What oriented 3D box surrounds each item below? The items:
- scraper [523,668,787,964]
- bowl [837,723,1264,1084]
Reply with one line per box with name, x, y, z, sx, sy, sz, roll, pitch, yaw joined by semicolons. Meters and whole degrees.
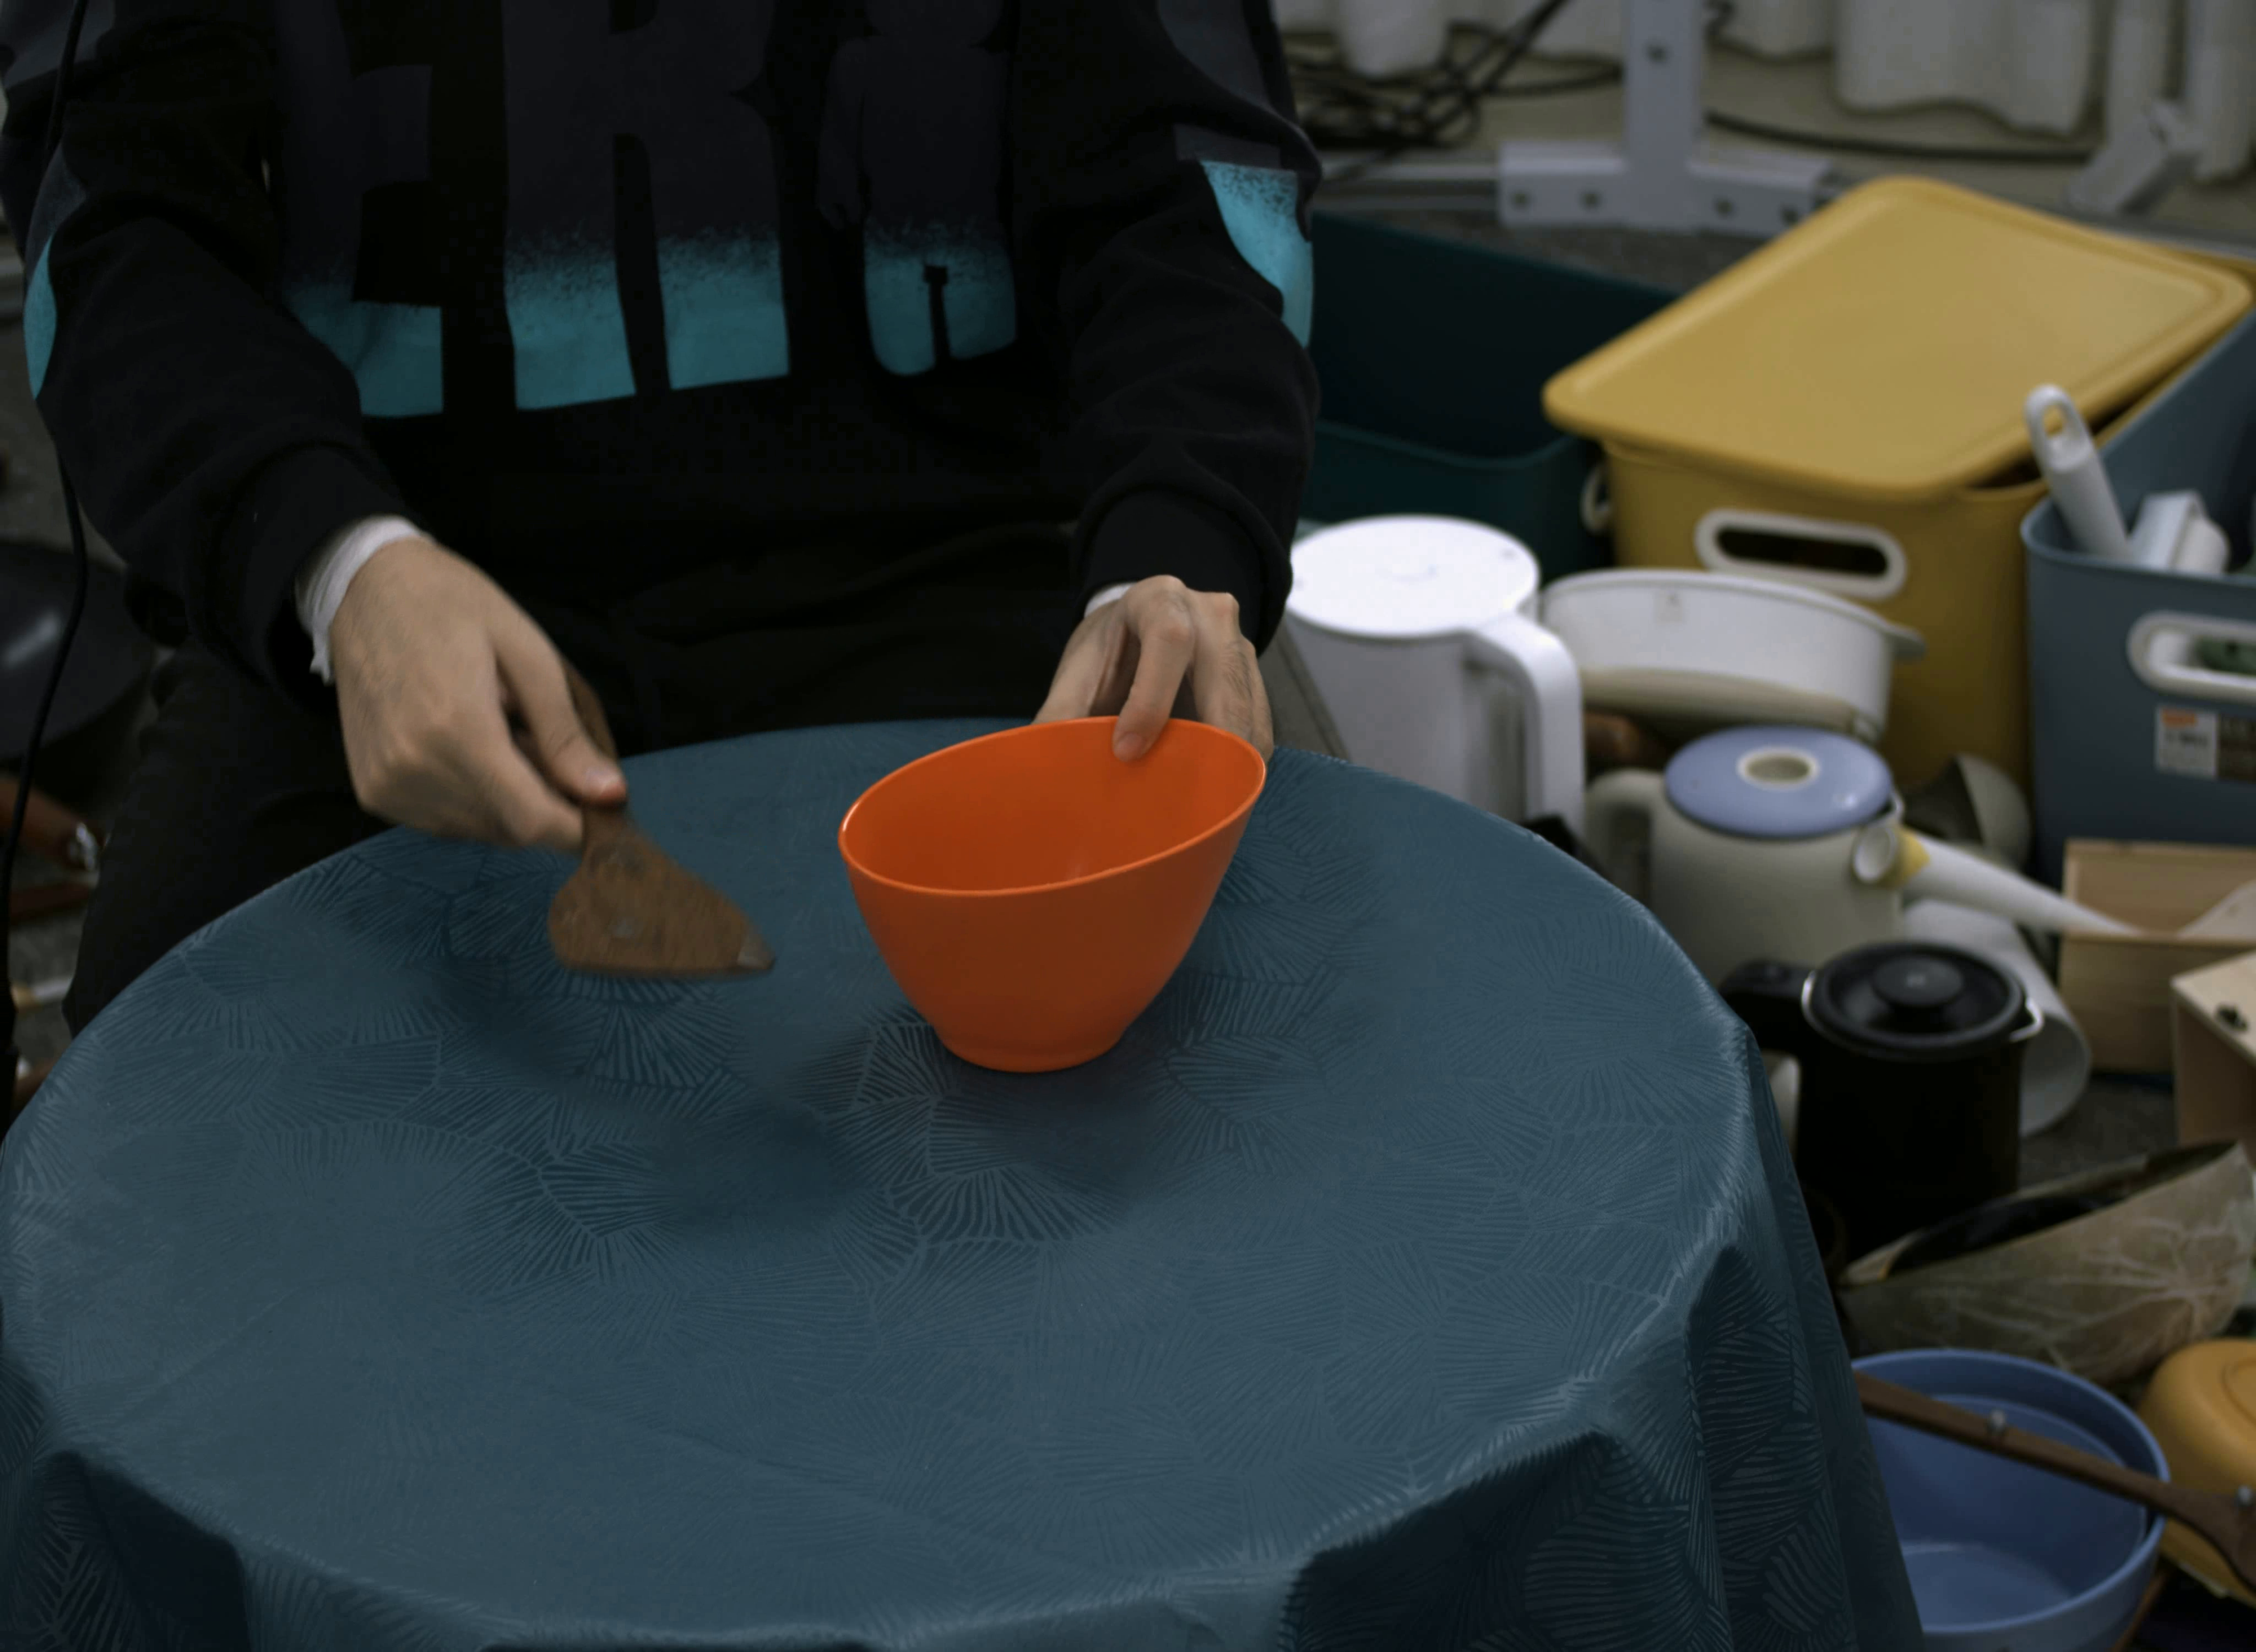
scraper;-0.175;-0.004;1.932;0.076;0.010;0.213;2;28;-20
bowl;-0.025;0.031;1.933;0.147;0.103;0.150;-2;26;1
